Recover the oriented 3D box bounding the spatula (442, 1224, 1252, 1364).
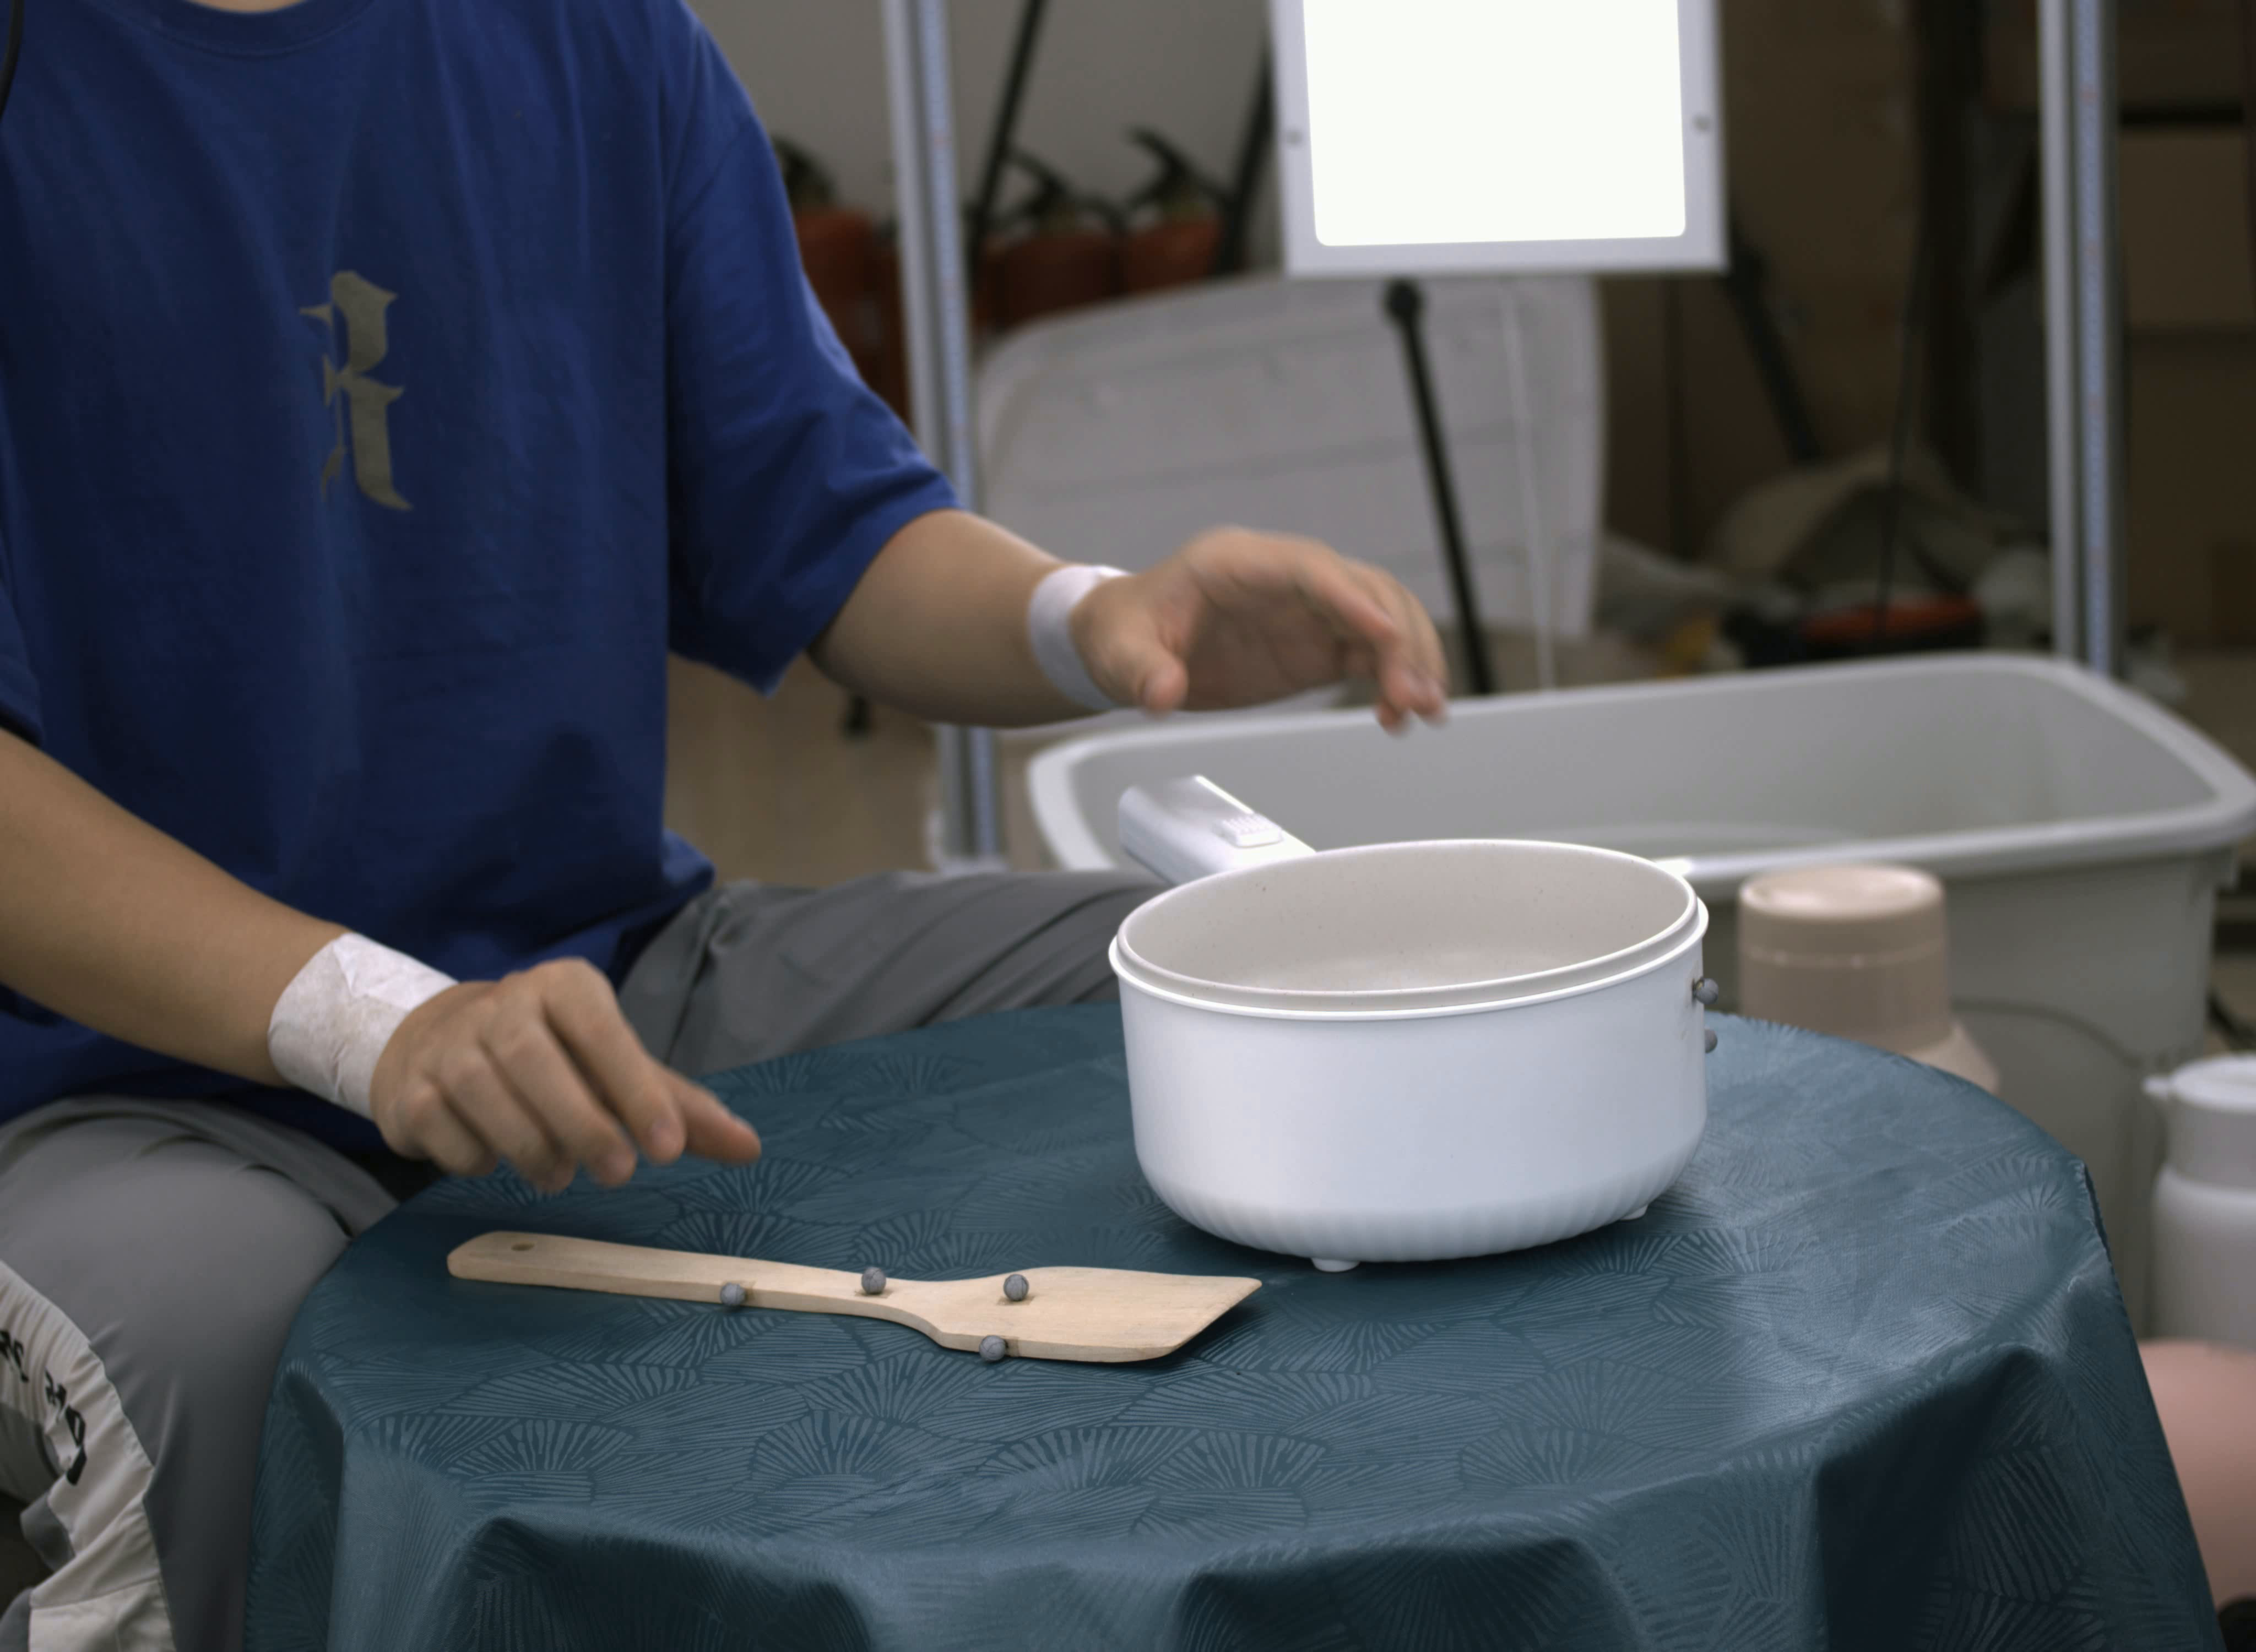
[{"bbox_3d":[-0.102,0.151,1.814,0.298,0.011,0.070,3,17,30],"label":"spatula"}]

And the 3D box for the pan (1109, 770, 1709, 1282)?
[{"bbox_3d":[0.073,0.063,1.922,0.198,0.102,0.359,-11,15,-16],"label":"pan"}]
